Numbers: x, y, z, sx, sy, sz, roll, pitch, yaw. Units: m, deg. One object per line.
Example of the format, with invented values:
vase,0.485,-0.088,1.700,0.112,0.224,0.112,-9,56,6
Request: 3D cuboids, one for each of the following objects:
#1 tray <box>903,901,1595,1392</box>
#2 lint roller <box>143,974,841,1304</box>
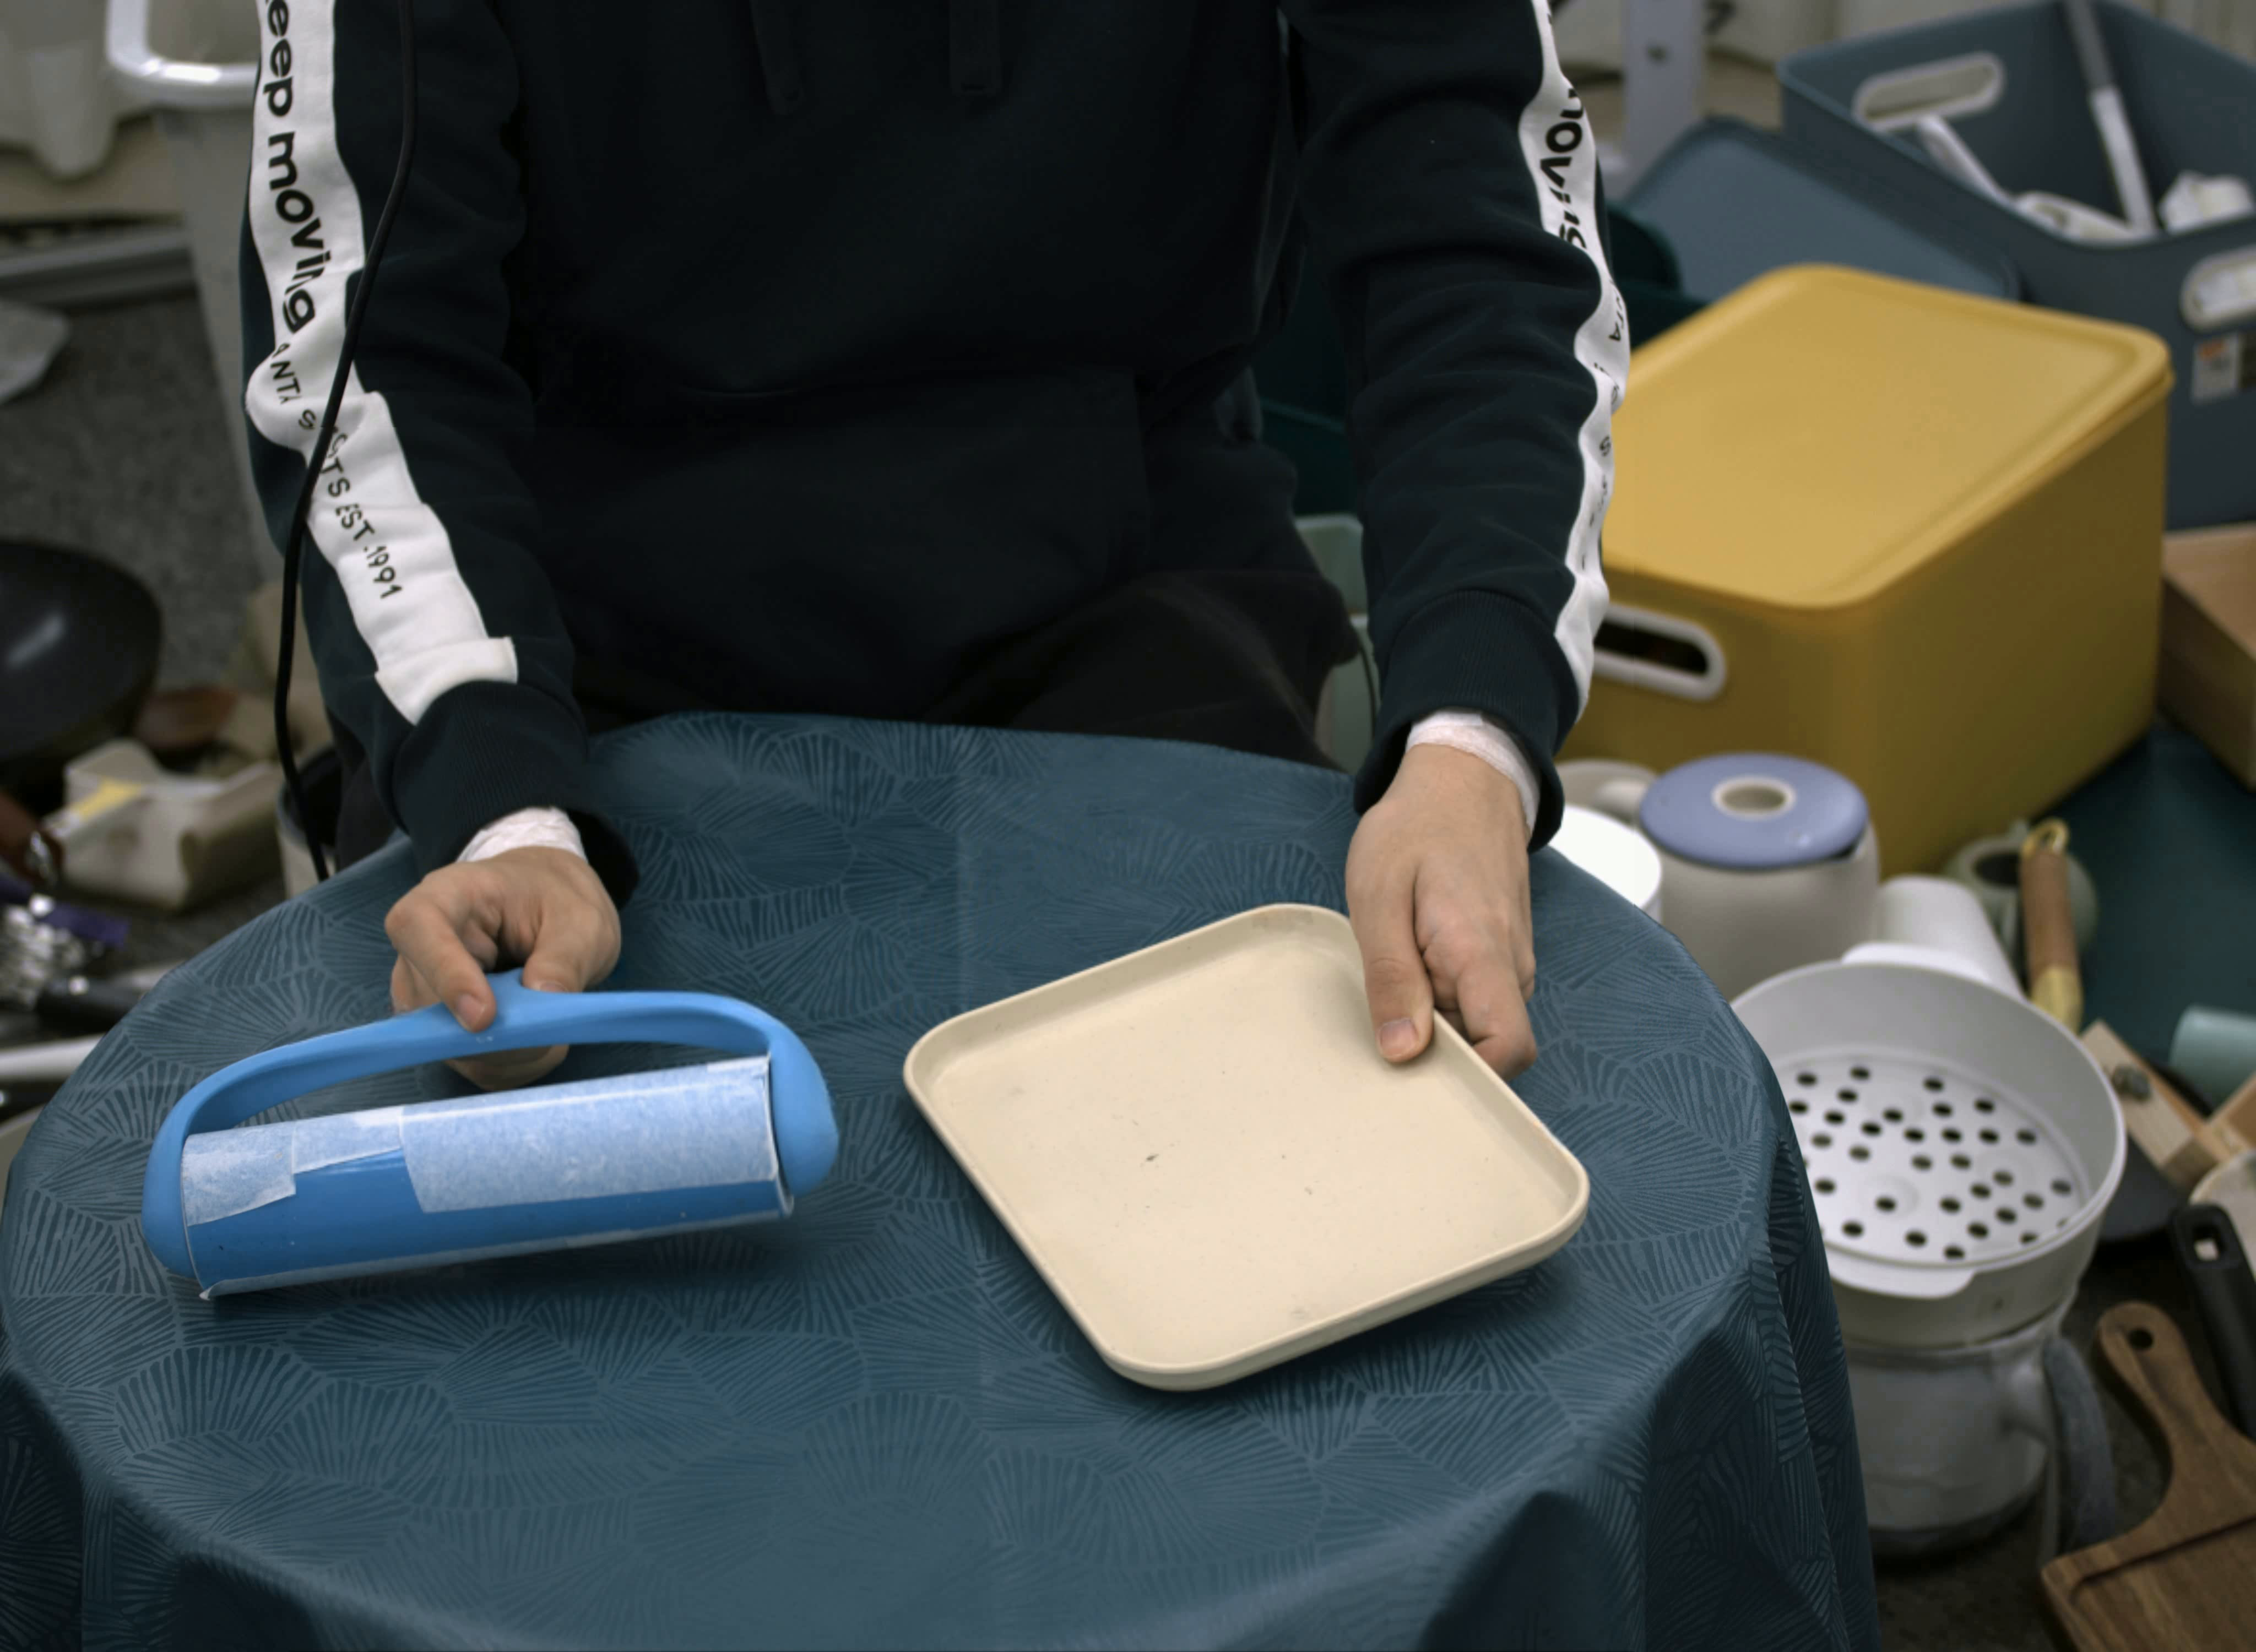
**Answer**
tray,0.037,0.104,1.853,0.172,0.017,0.241,-20,31,-15
lint roller,-0.211,0.085,1.871,0.228,0.067,0.183,-11,28,0
